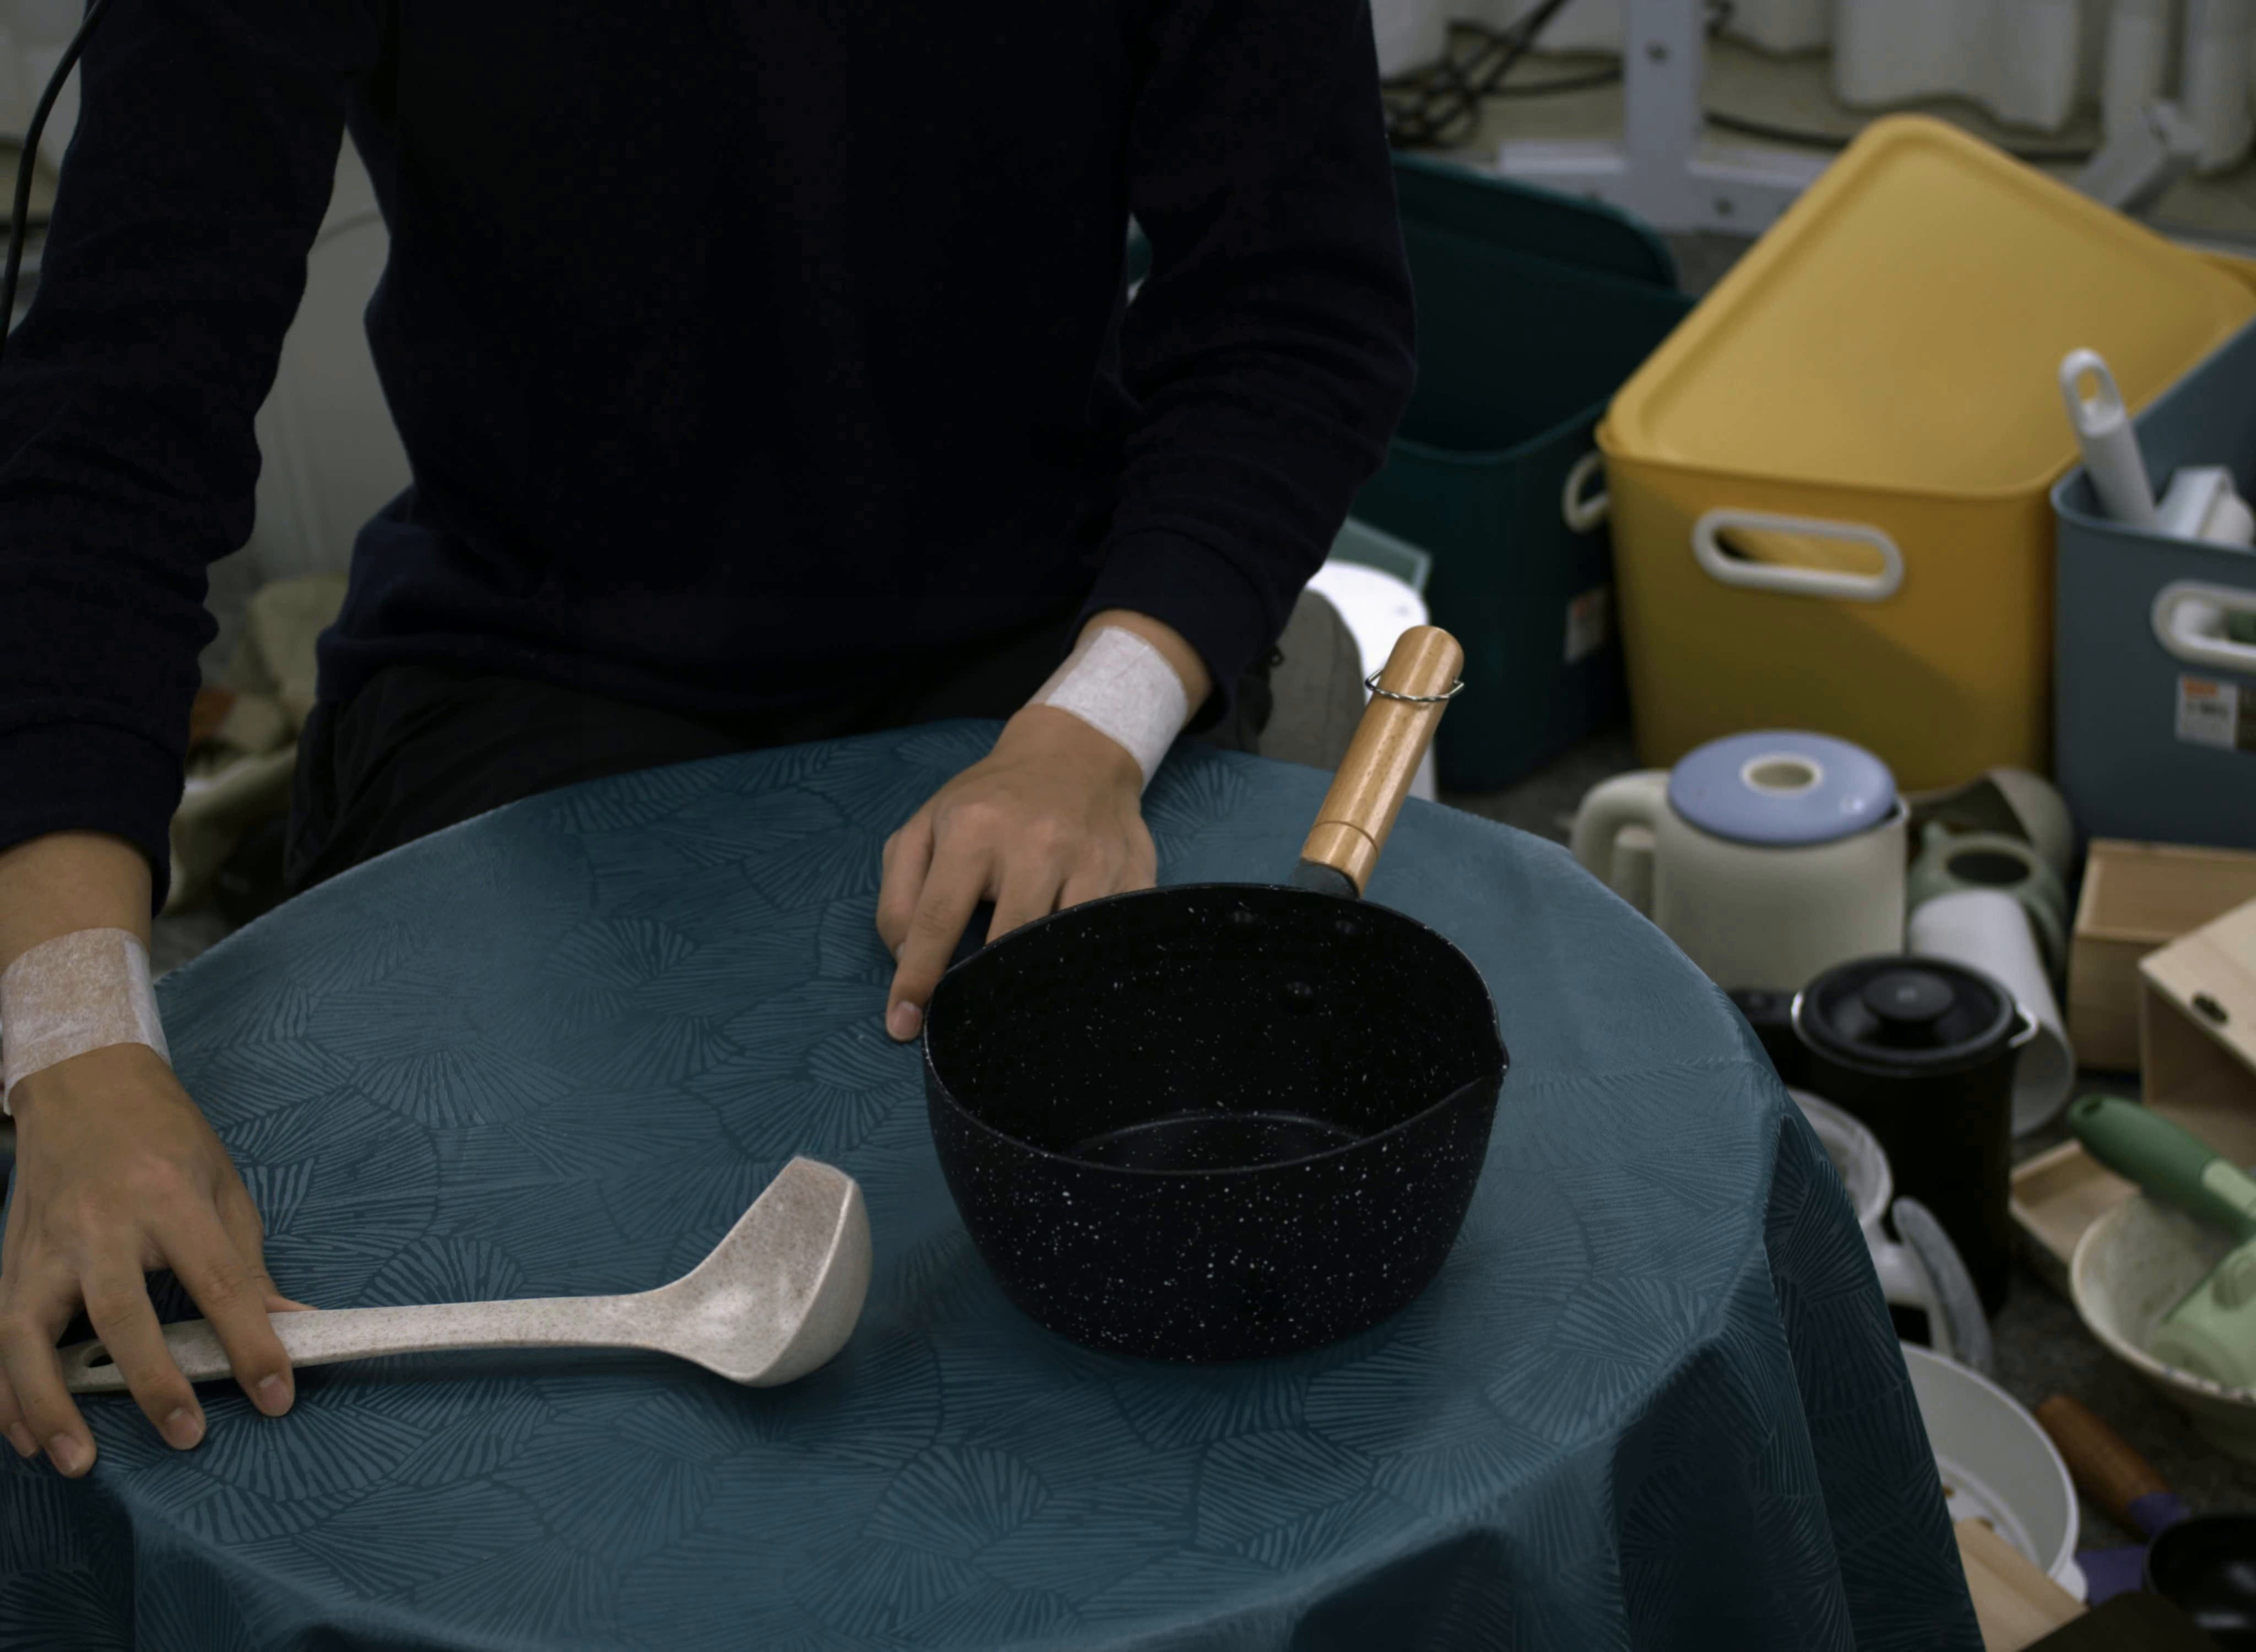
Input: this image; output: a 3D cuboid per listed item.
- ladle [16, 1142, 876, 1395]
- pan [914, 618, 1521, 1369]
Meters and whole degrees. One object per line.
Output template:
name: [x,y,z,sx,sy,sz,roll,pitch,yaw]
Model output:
ladle: [-0.216,0.144,1.765,0.273,0.068,0.091,-3,42,-1]
pan: [0.052,0.052,1.875,0.206,0.107,0.349,5,30,18]
